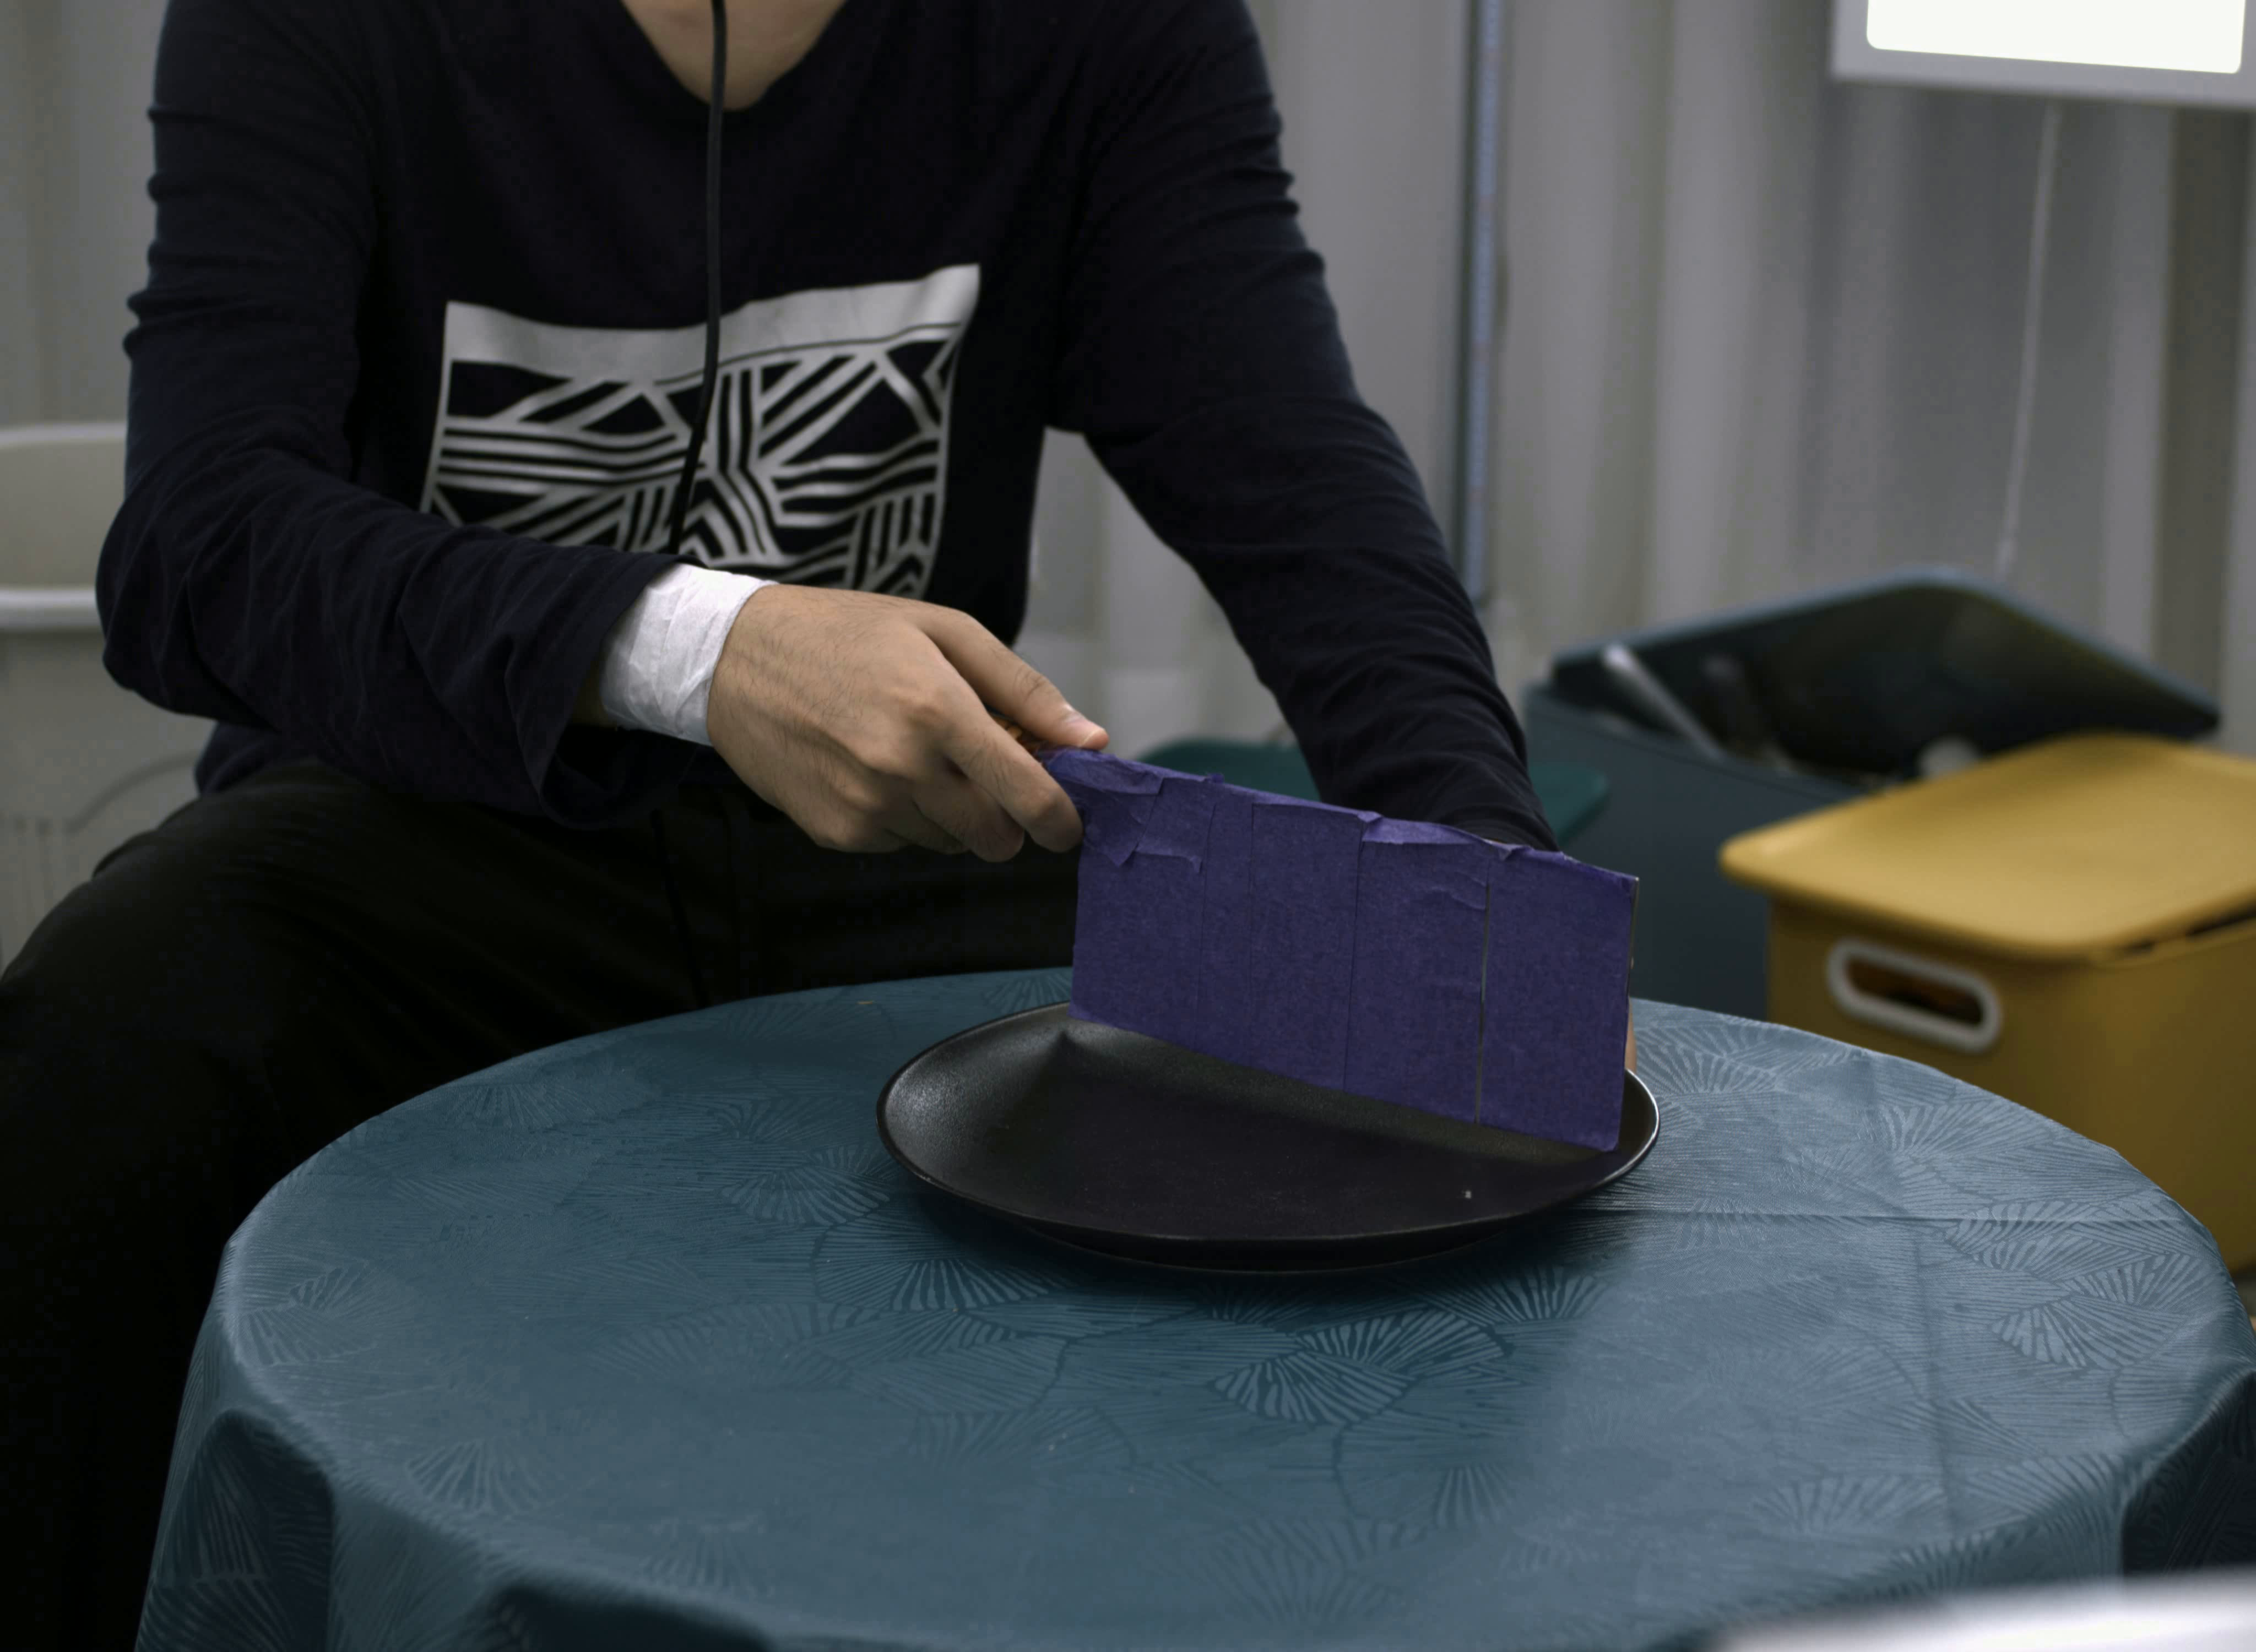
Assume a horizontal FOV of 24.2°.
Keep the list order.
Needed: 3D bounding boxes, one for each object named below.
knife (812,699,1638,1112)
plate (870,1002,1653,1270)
[{"bbox_3d":[0.025,0.026,1.679,0.311,0.104,0.032,12,15,35],"label":"knife"},{"bbox_3d":[0.041,0.096,1.637,0.243,0.023,0.243,0,16,1],"label":"plate"}]
